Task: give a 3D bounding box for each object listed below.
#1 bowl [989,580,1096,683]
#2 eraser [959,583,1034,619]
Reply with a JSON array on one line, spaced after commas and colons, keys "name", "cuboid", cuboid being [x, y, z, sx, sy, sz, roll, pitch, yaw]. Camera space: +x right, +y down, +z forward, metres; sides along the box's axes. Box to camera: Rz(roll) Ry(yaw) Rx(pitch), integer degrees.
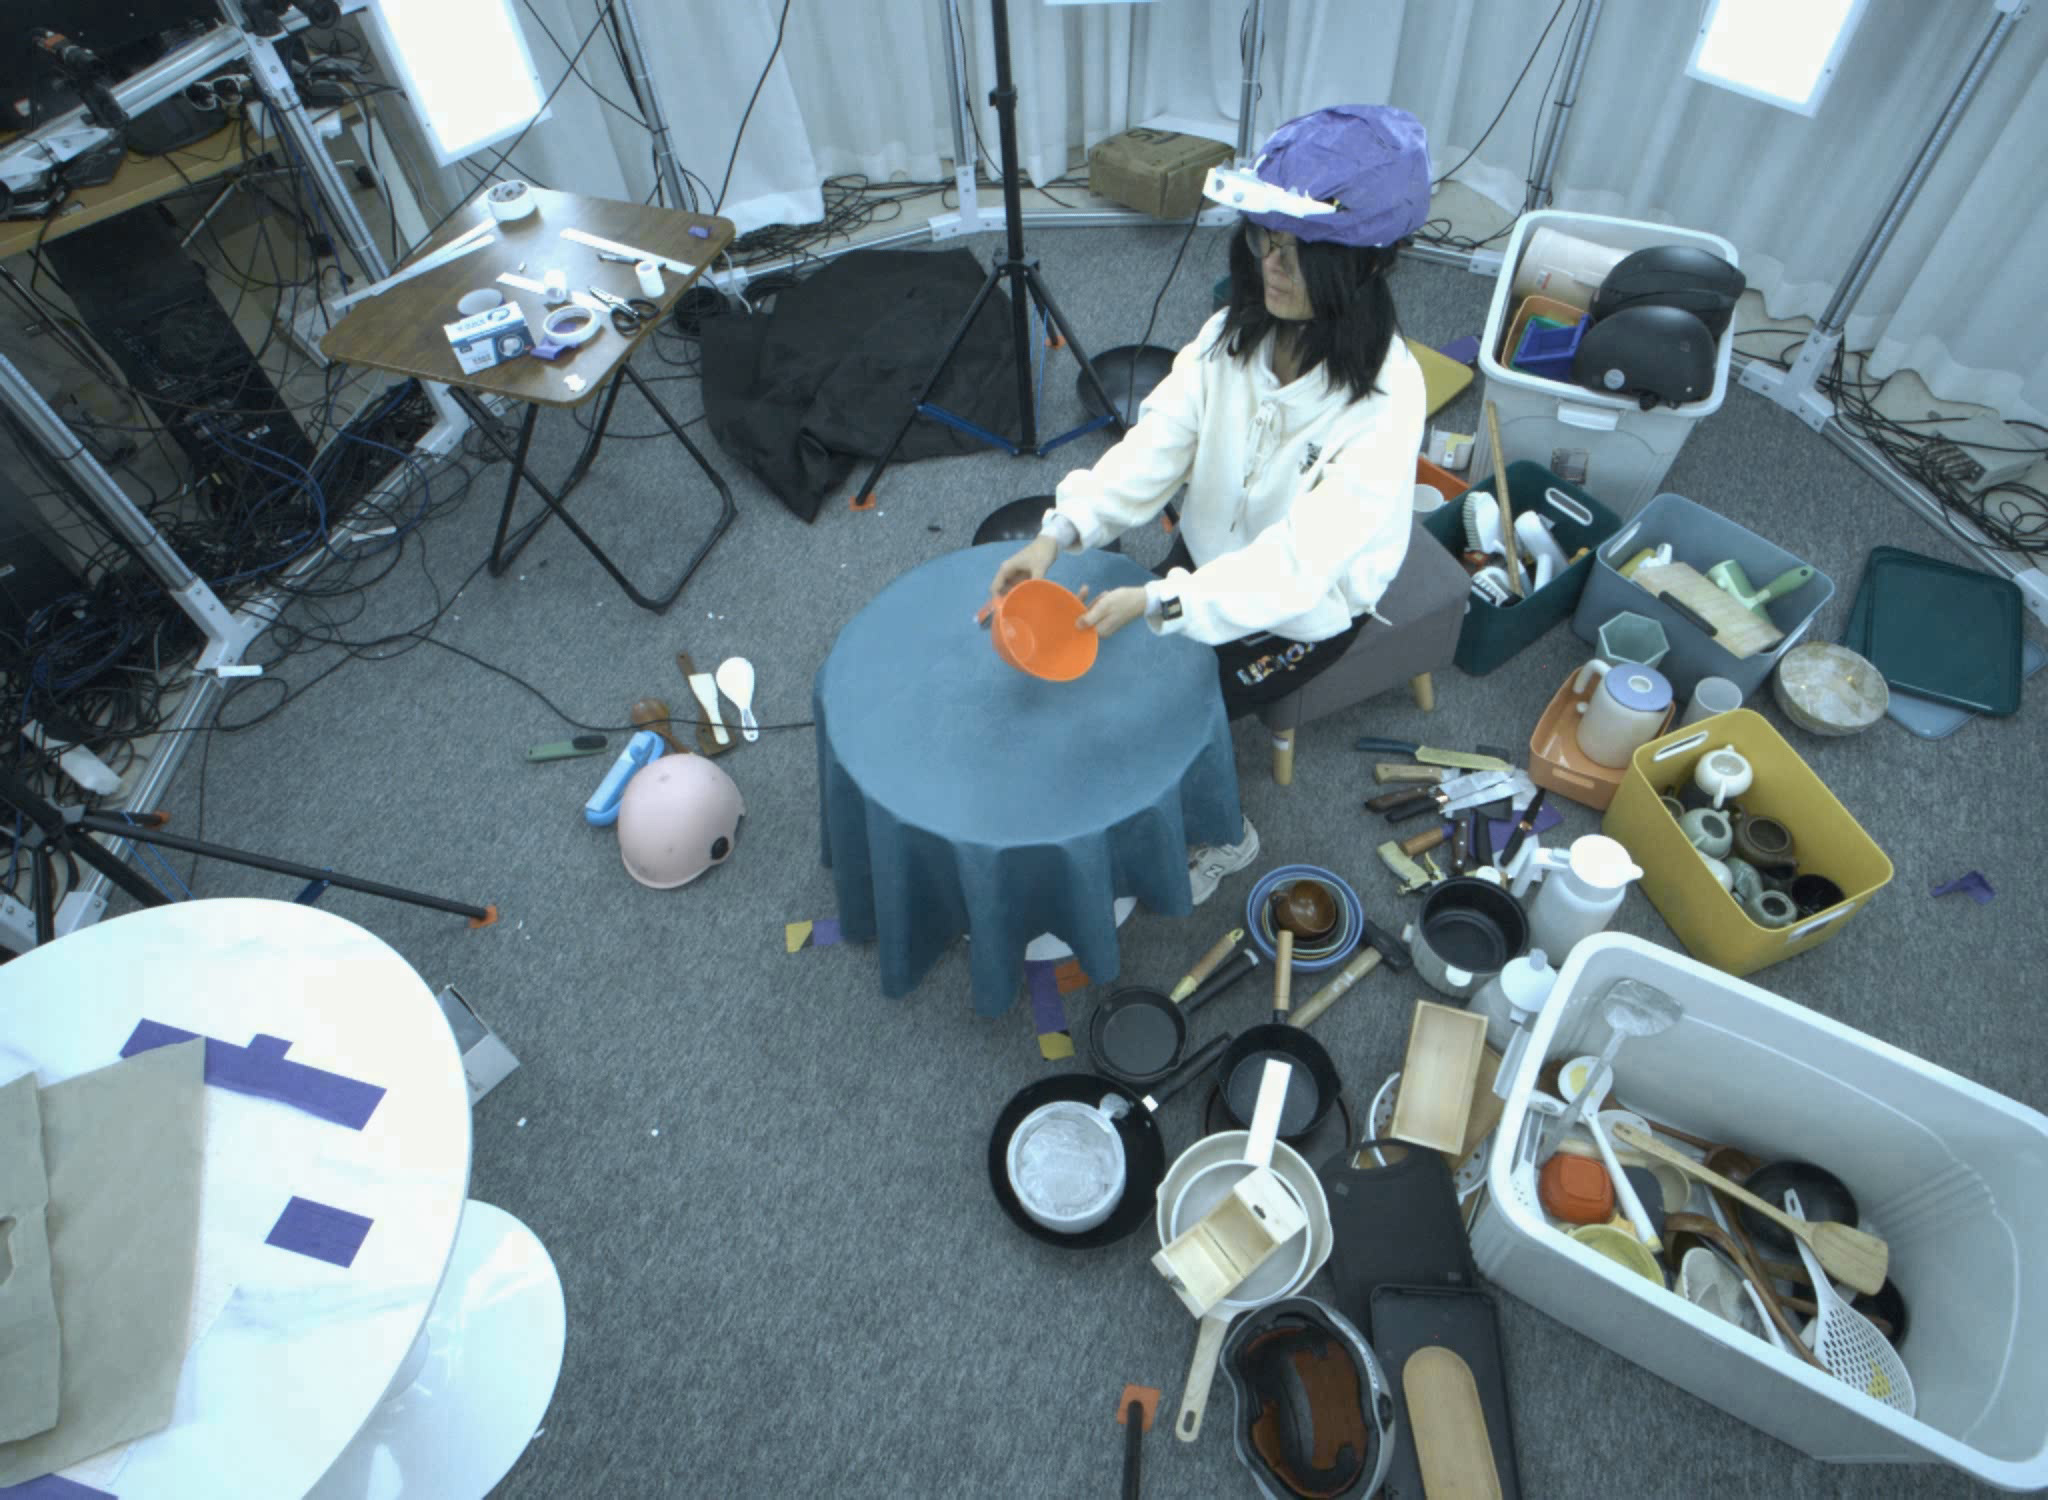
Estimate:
[{"name": "bowl", "cuboid": [0.010, -0.151, 1.677, 0.151, 0.103, 0.147, 7, 77, -31]}, {"name": "eraser", "cuboid": [-0.038, -0.219, 1.801, 0.109, 0.058, 0.023, -13, 81, -26]}]
